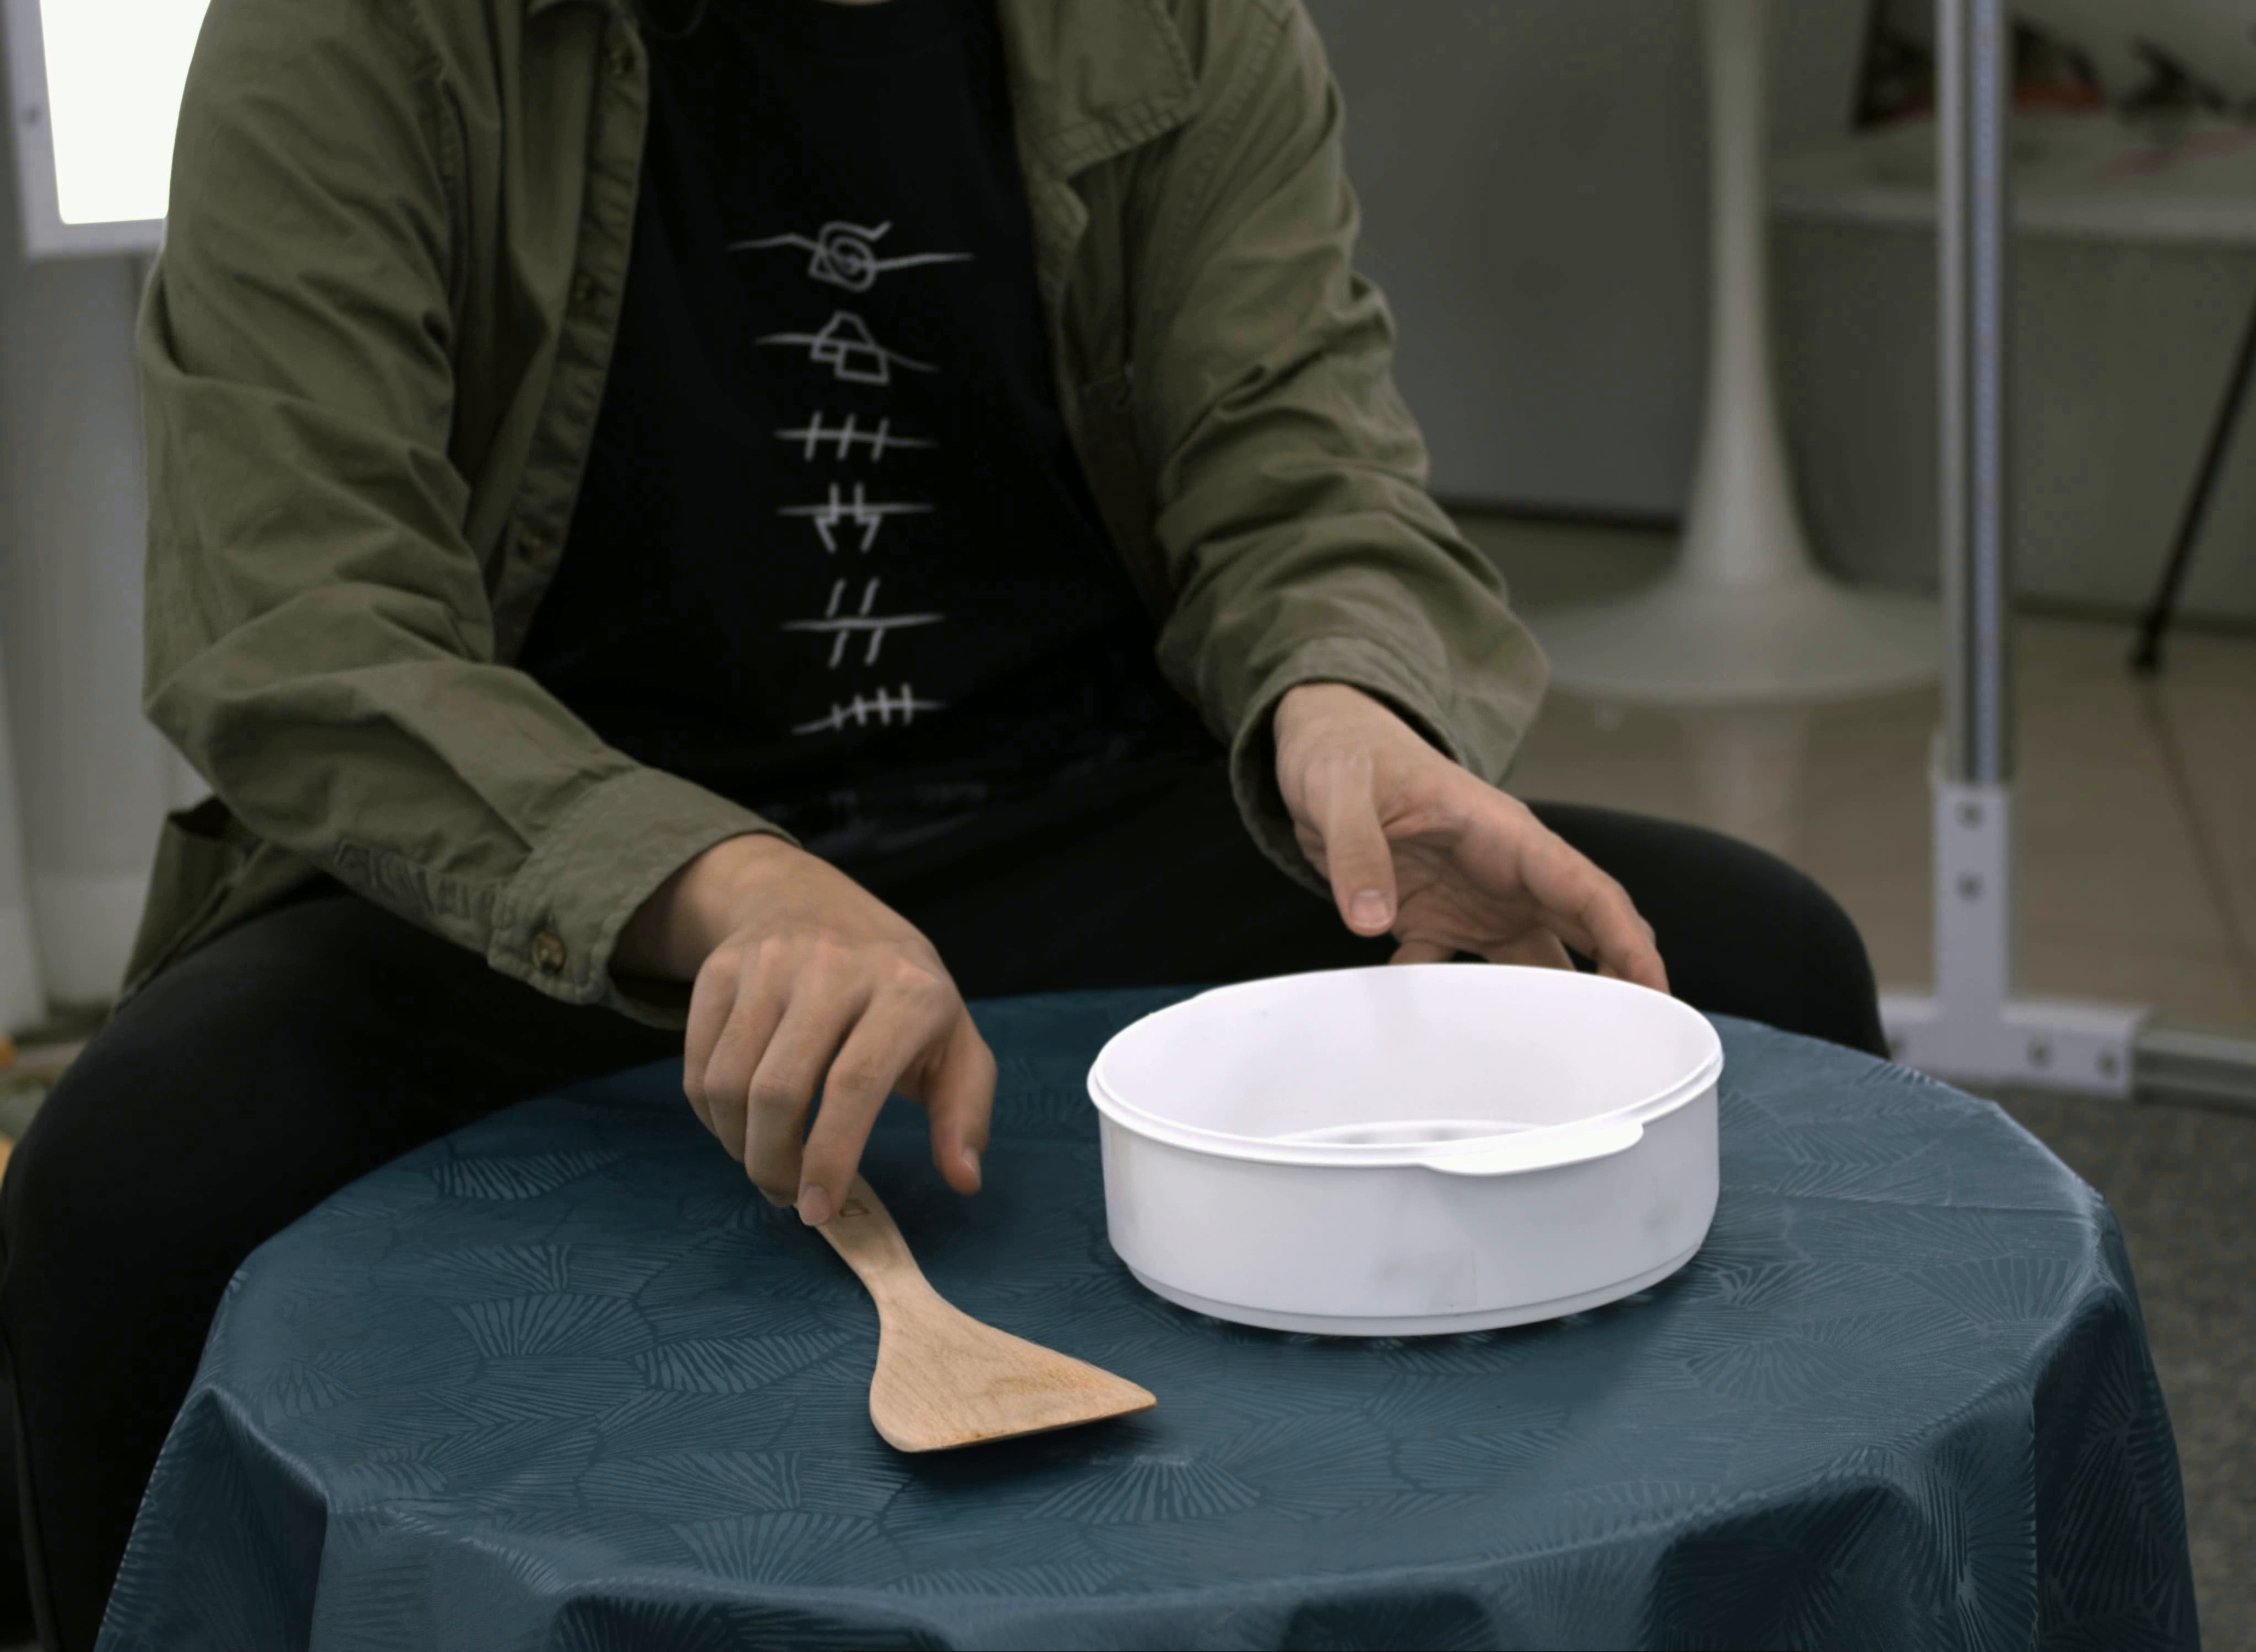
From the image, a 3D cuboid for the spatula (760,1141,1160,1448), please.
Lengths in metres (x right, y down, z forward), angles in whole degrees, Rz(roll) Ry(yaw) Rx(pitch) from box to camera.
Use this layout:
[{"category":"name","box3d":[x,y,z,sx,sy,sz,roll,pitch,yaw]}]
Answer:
[{"category":"spatula","box3d":[-0.068,0.140,1.675,0.078,0.017,0.330,-7,14,-15]}]

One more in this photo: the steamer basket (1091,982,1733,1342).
[{"category":"steamer basket","box3d":[0.090,0.104,1.677,0.198,0.070,0.232,-8,13,-18]}]
